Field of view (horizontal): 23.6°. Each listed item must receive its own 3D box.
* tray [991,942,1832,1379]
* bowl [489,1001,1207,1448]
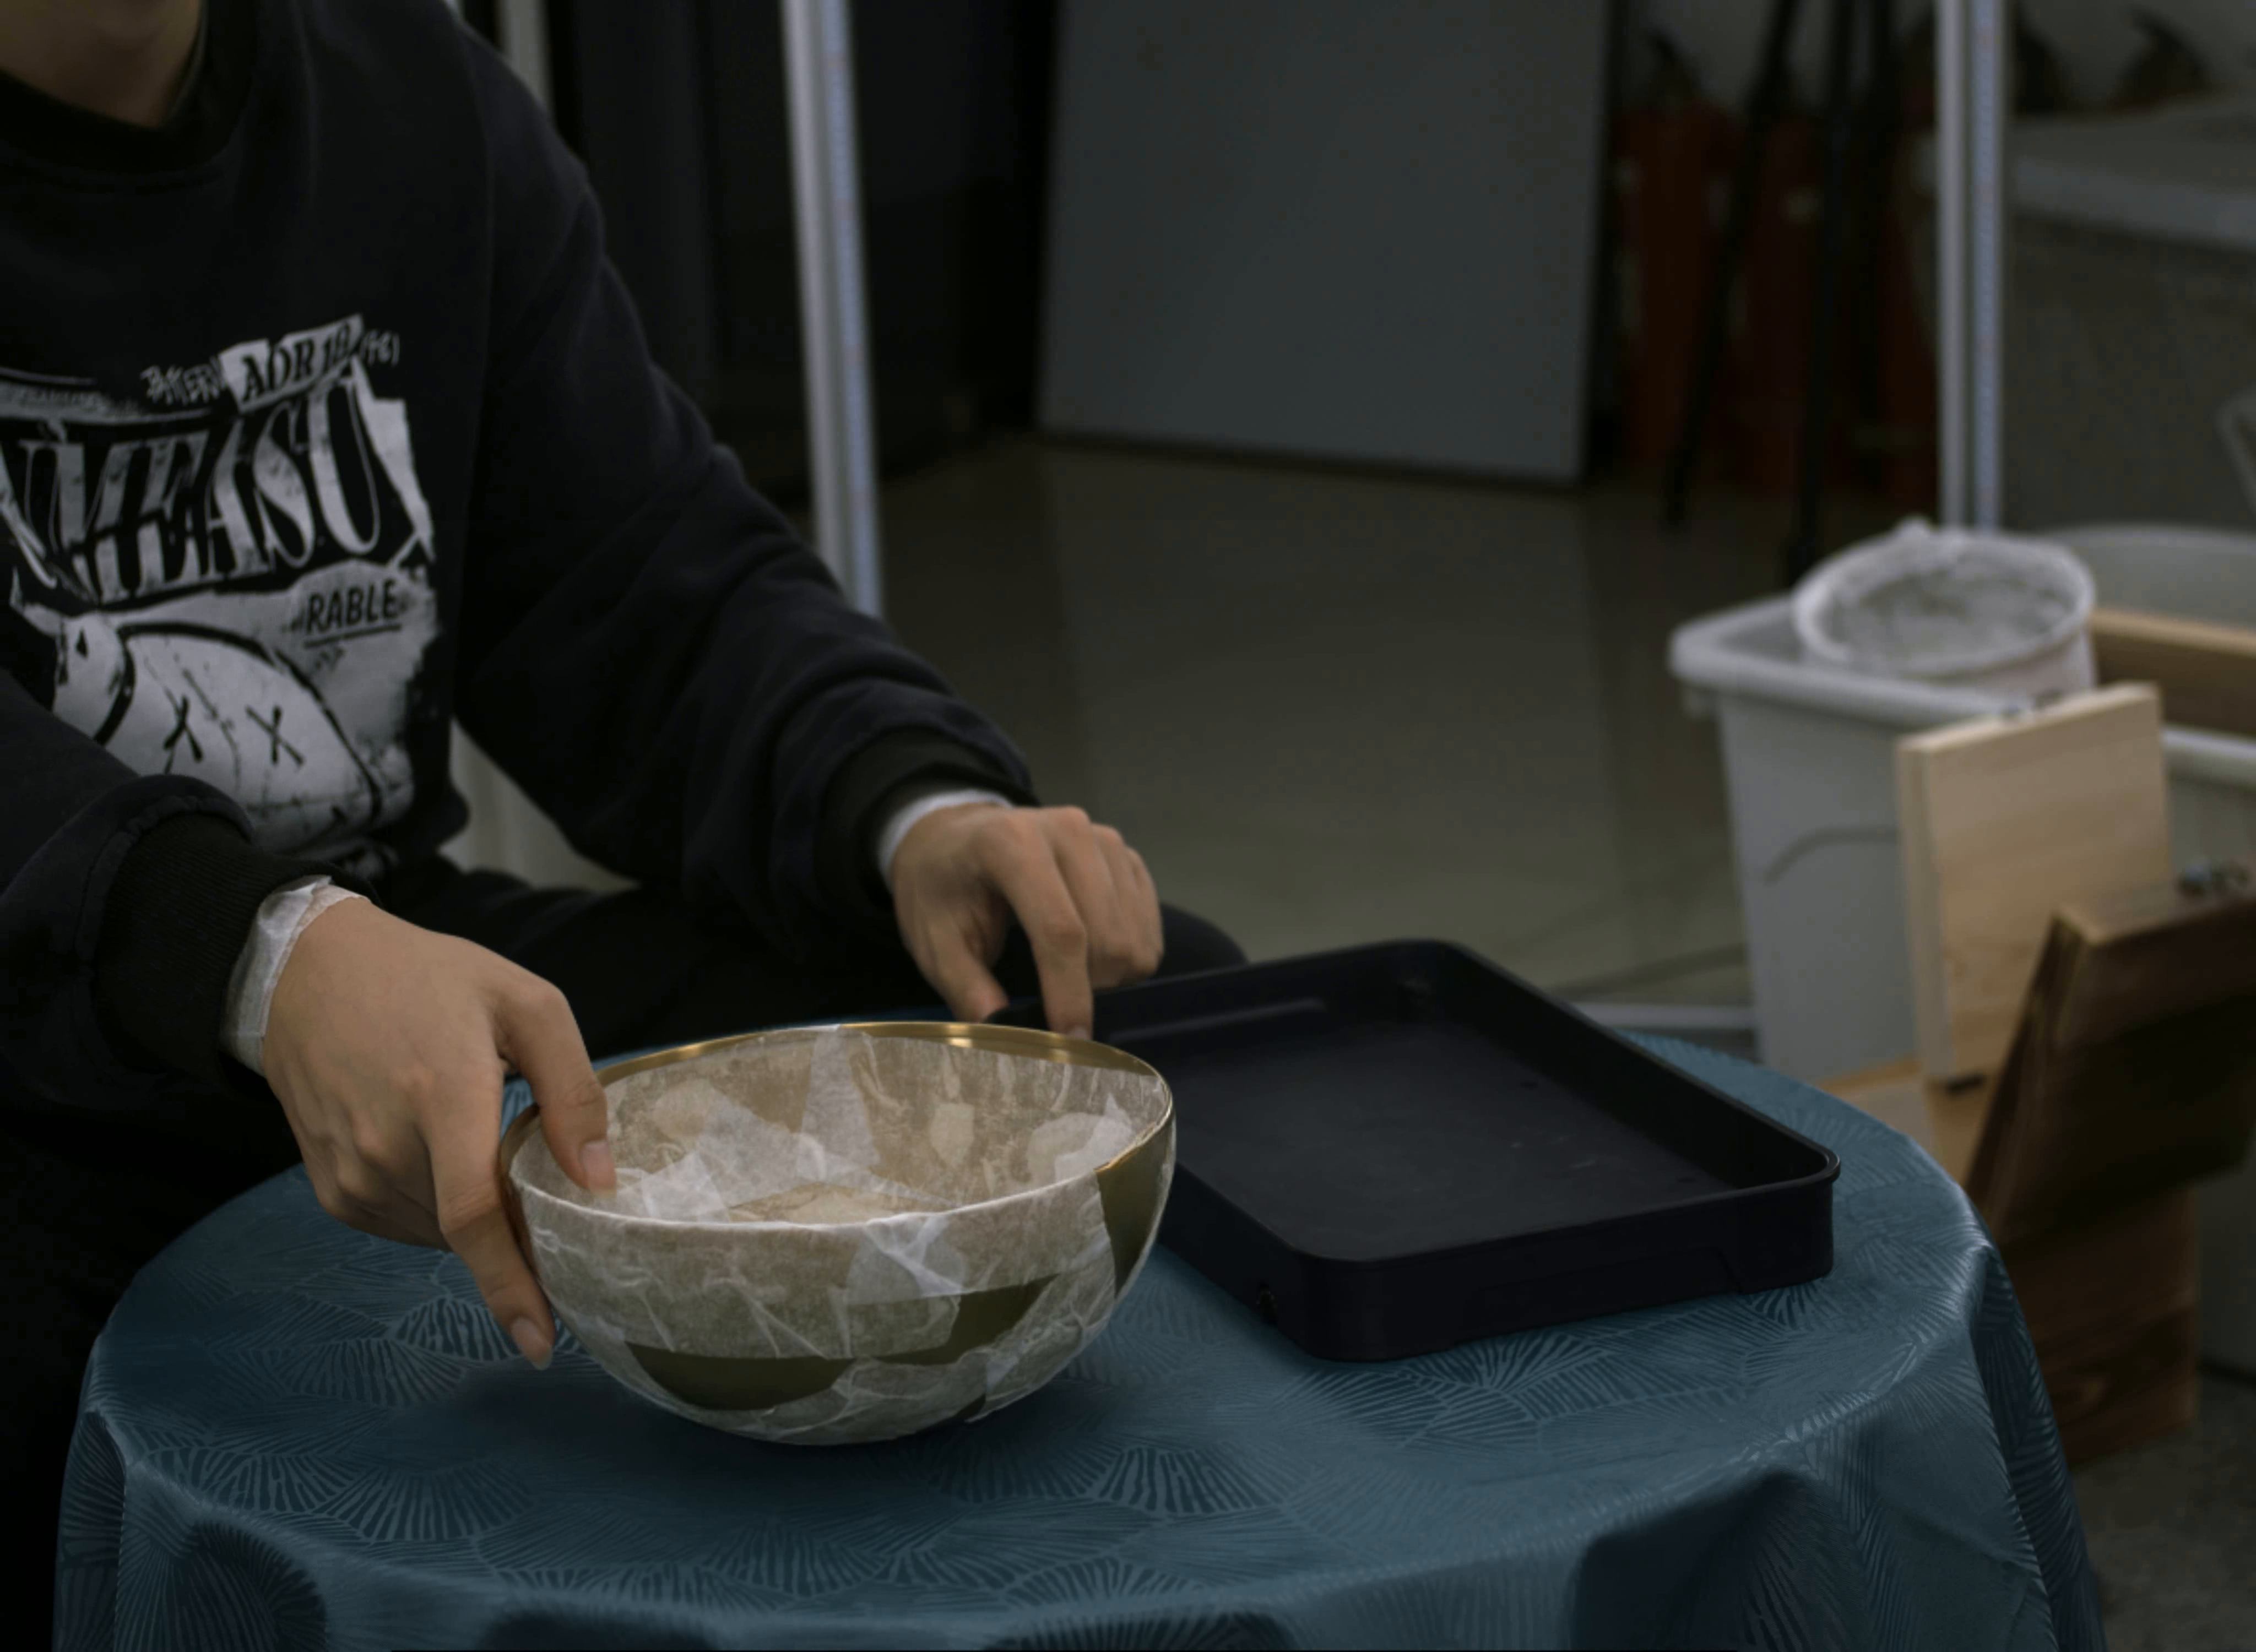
[{"bbox_3d":[0.085,0.103,1.755,0.180,0.037,0.321,-8,16,-18],"label":"tray"},{"bbox_3d":[-0.078,0.125,1.582,0.212,0.095,0.215,-5,14,0],"label":"bowl"}]
